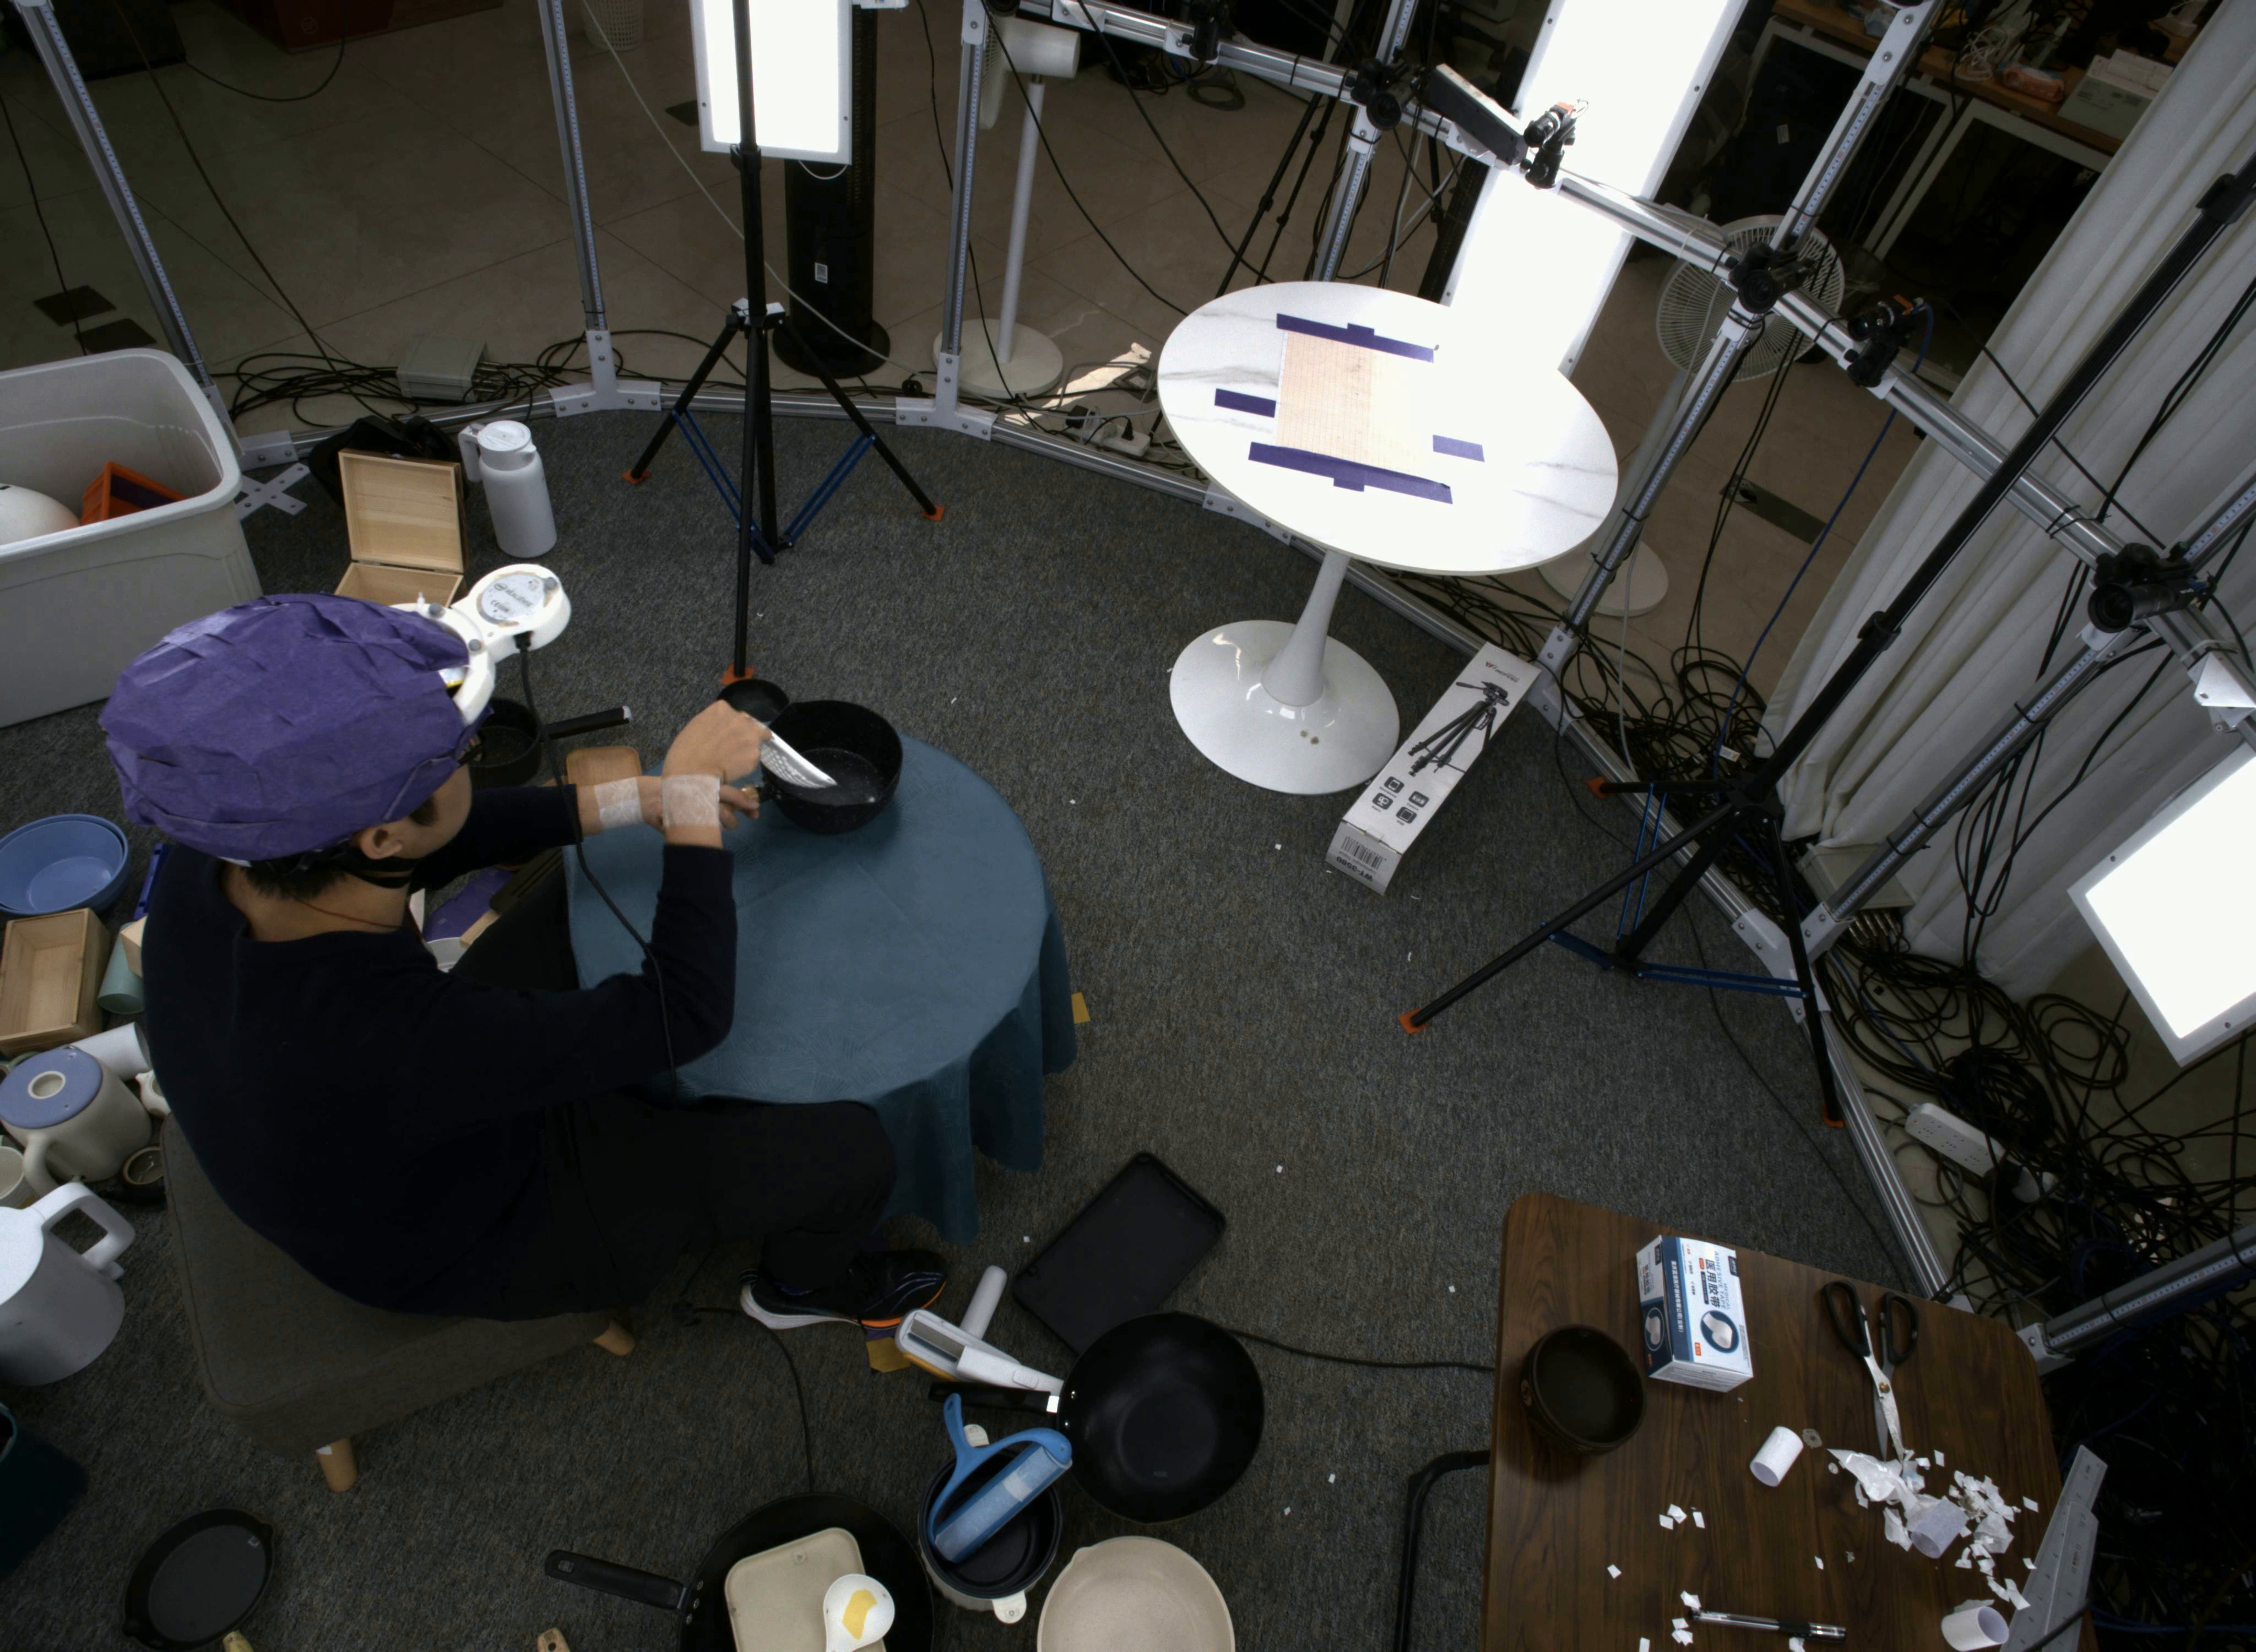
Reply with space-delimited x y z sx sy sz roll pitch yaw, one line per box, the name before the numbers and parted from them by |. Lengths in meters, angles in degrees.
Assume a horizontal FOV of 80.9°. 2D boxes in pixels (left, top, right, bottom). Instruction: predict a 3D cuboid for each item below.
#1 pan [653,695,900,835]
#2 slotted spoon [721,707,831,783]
pan | -0.452 -0.047 1.666 0.344 0.110 0.203 -32 68 -35
slotted spoon | -0.428 -0.098 1.511 0.137 0.346 0.050 40 82 -2
